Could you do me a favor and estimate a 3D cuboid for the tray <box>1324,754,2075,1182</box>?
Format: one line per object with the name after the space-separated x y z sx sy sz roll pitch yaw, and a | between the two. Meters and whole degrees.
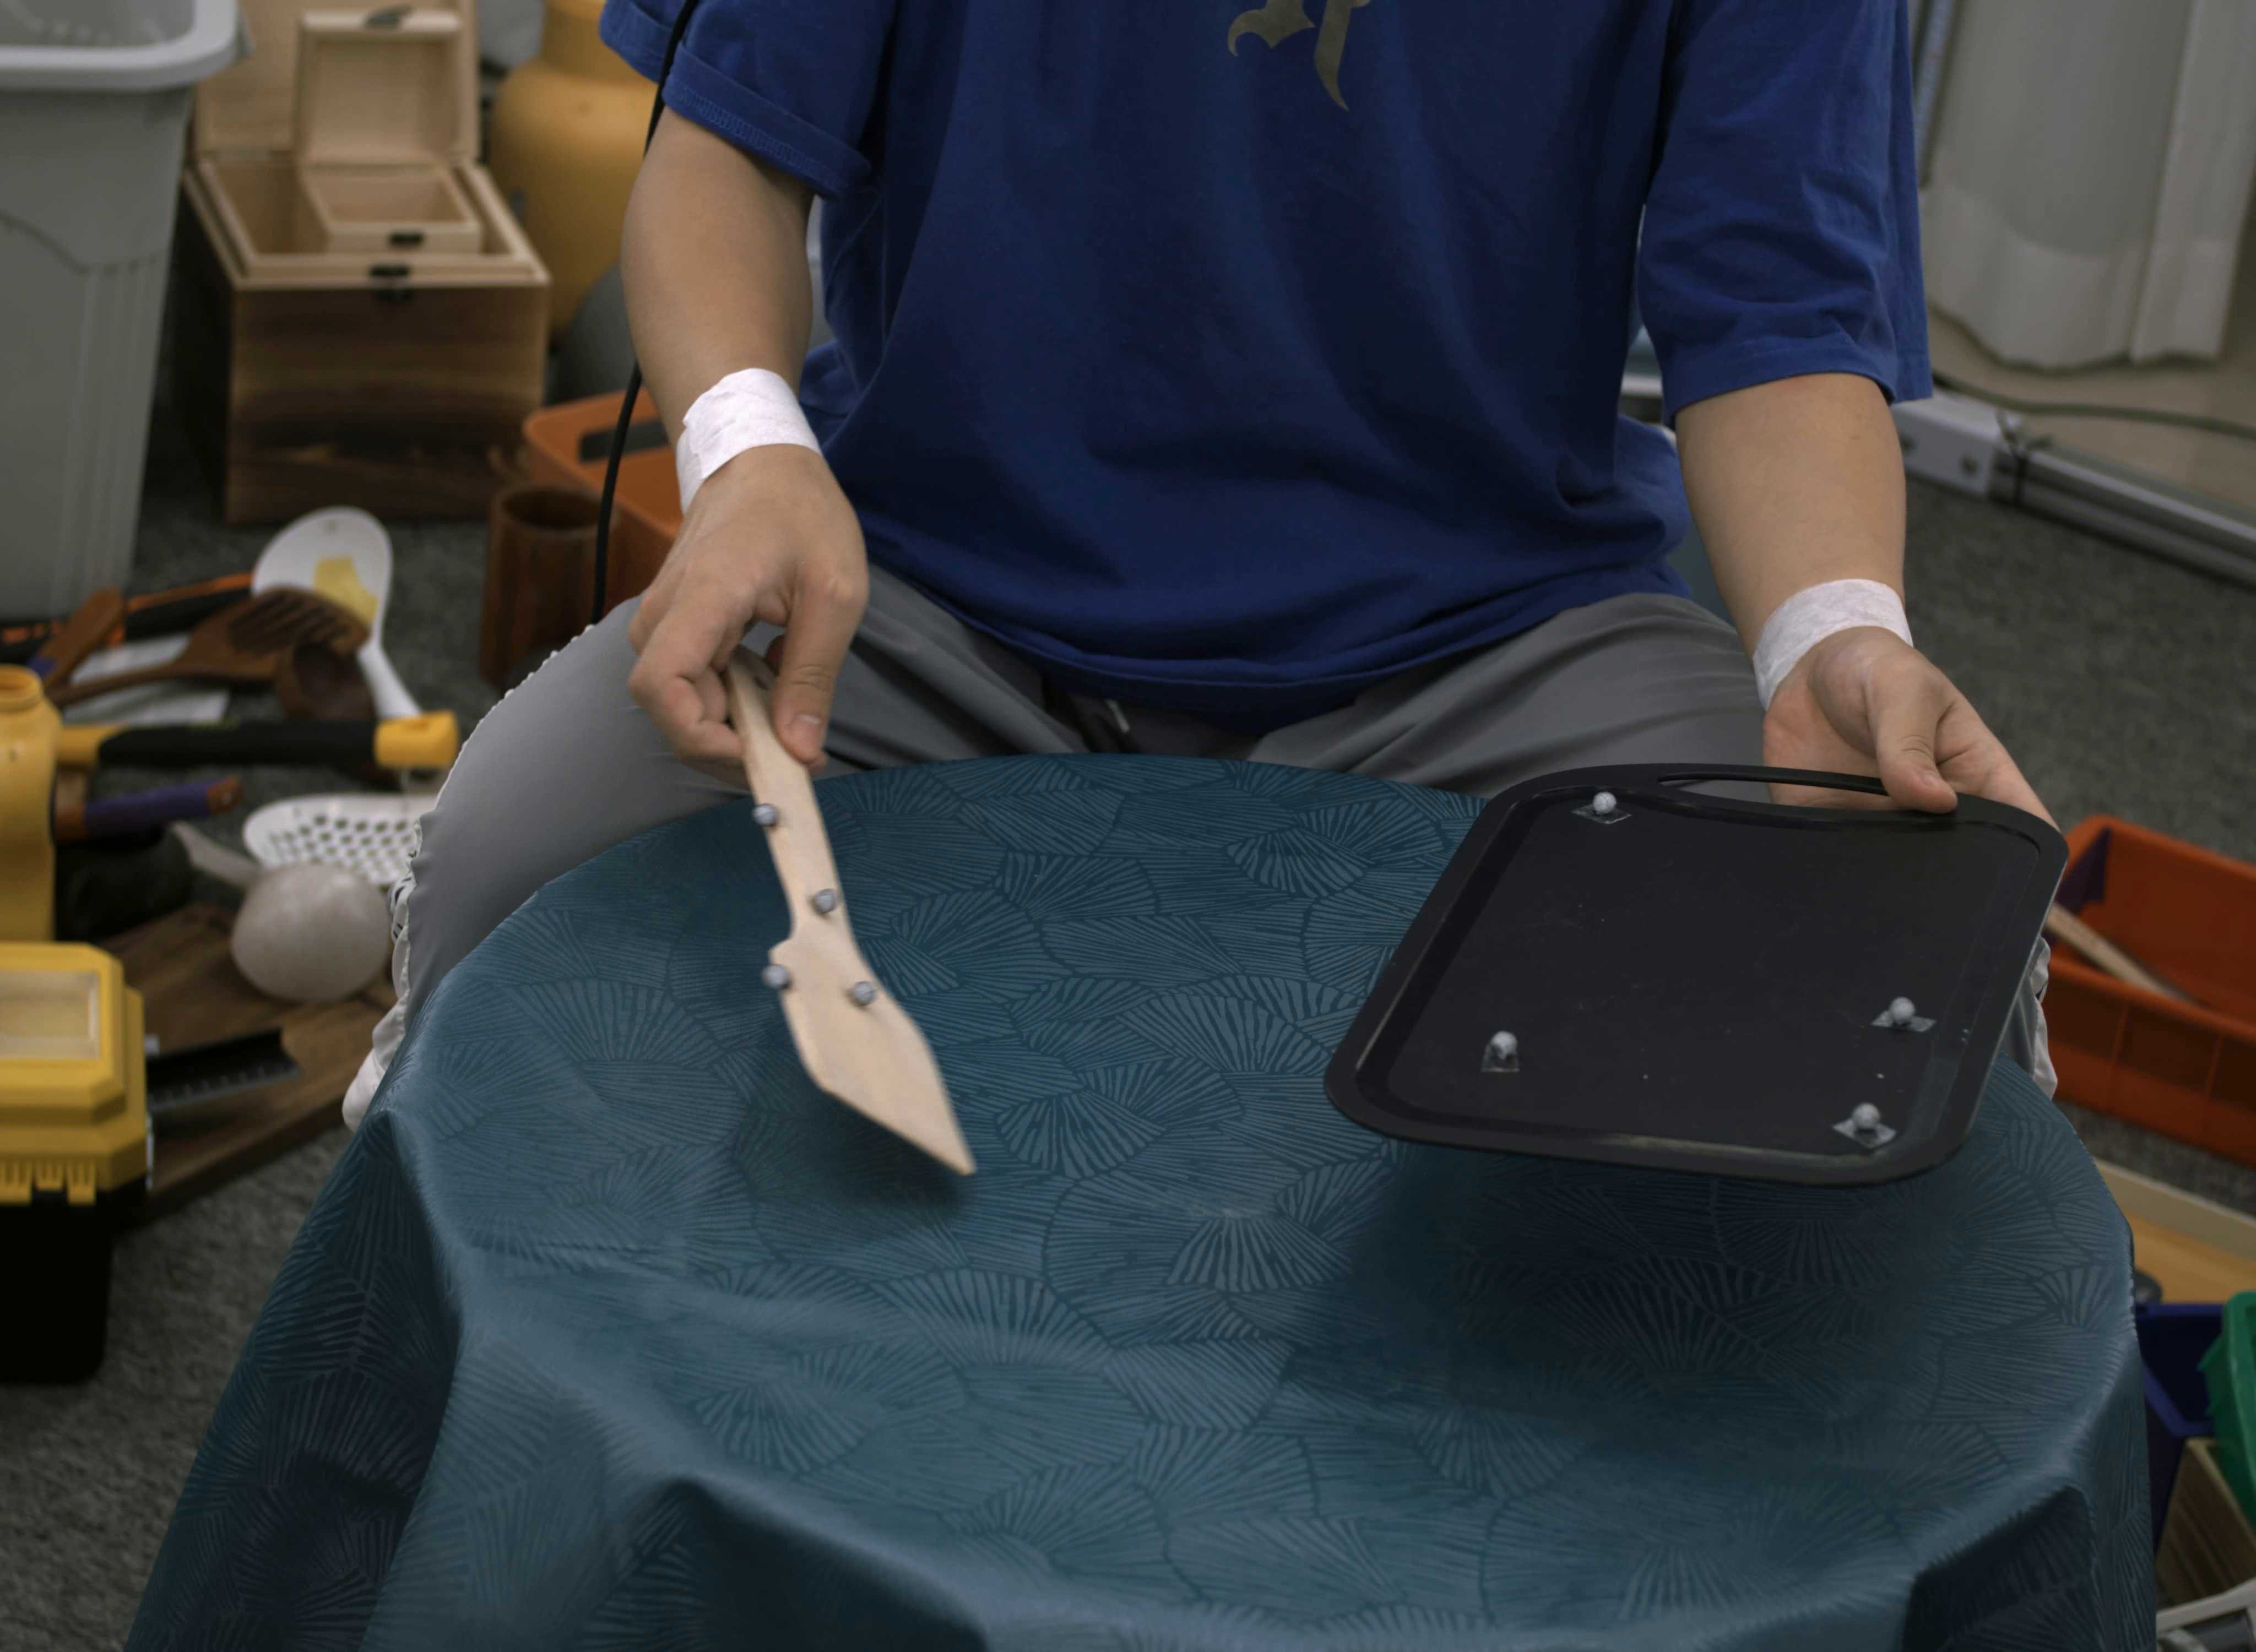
0.199 0.038 1.801 0.211 0.010 0.326 5 25 18 | tray

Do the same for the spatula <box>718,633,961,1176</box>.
-0.113 0.018 1.880 0.071 0.010 0.296 33 22 -33 | spatula
